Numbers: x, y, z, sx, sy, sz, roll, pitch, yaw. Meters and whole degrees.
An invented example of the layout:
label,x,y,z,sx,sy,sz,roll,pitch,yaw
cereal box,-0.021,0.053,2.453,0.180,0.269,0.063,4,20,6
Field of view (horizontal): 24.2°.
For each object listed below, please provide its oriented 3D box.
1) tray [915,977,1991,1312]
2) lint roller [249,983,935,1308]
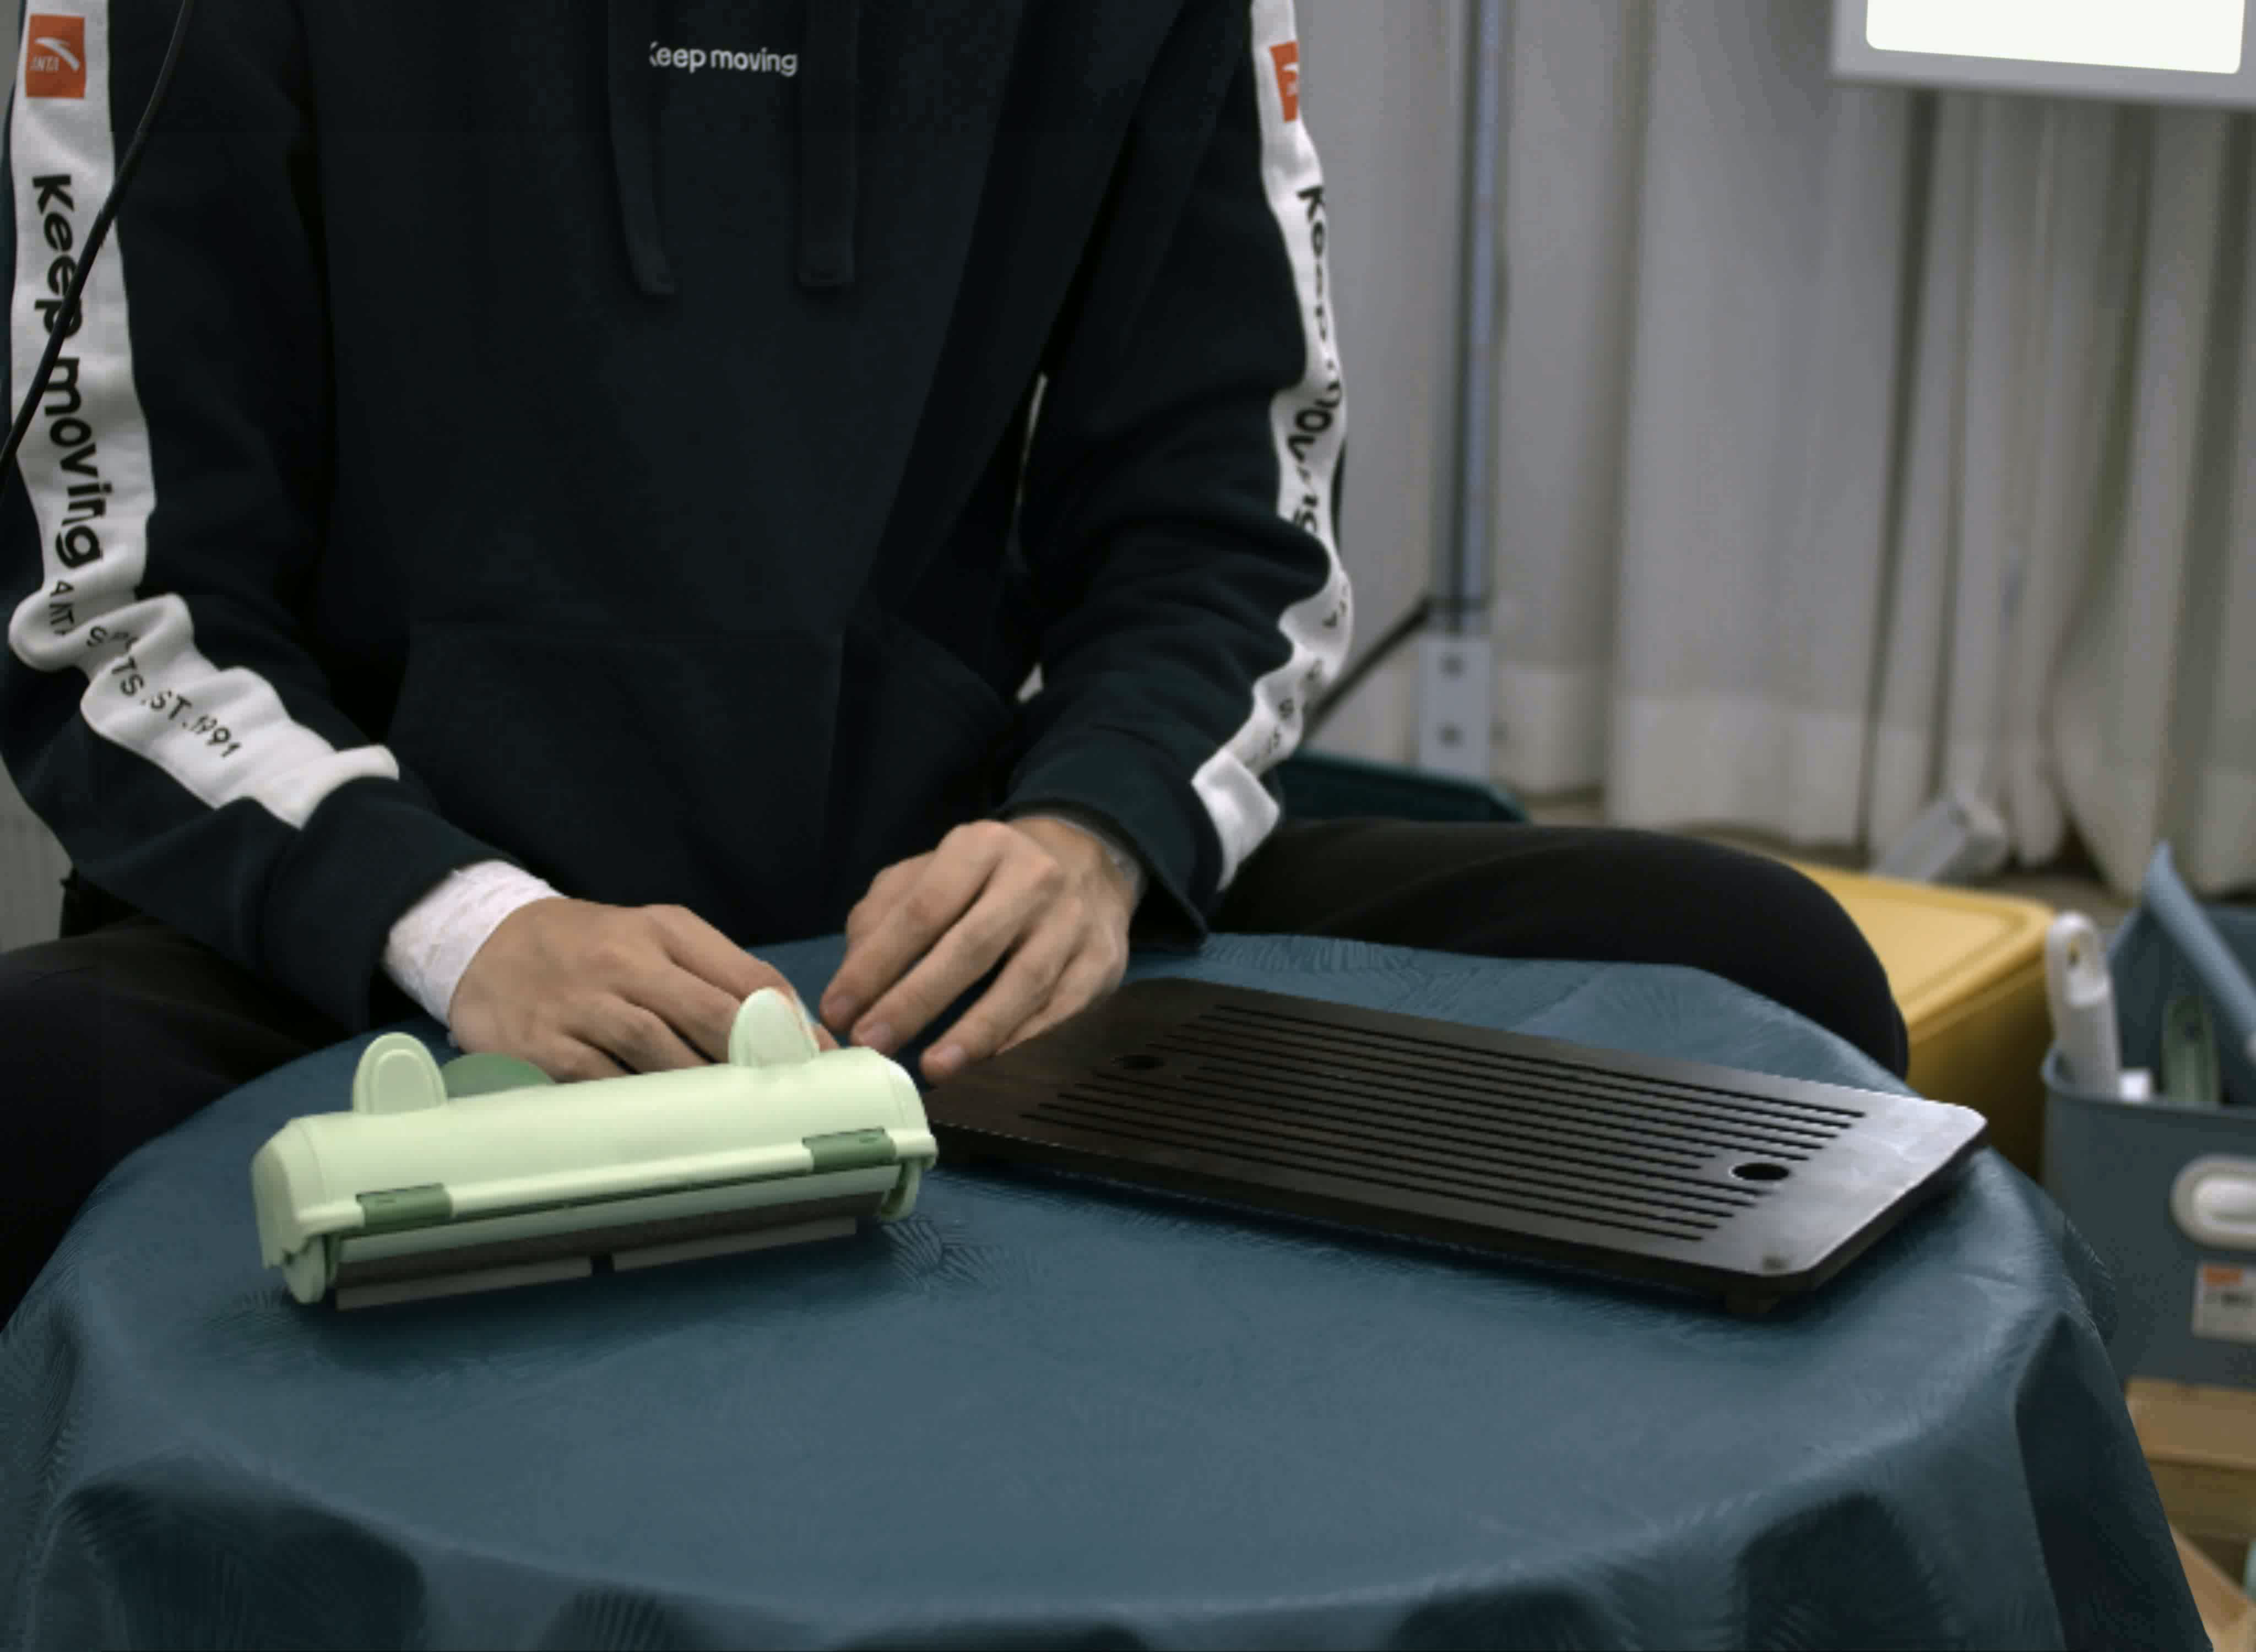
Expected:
label,x,y,z,sx,sy,sz,roll,pitch,yaw
tray,0.100,0.097,1.645,0.302,0.019,0.170,8,18,27
lint roller,-0.178,0.079,1.586,0.199,0.083,0.181,-7,20,-23
